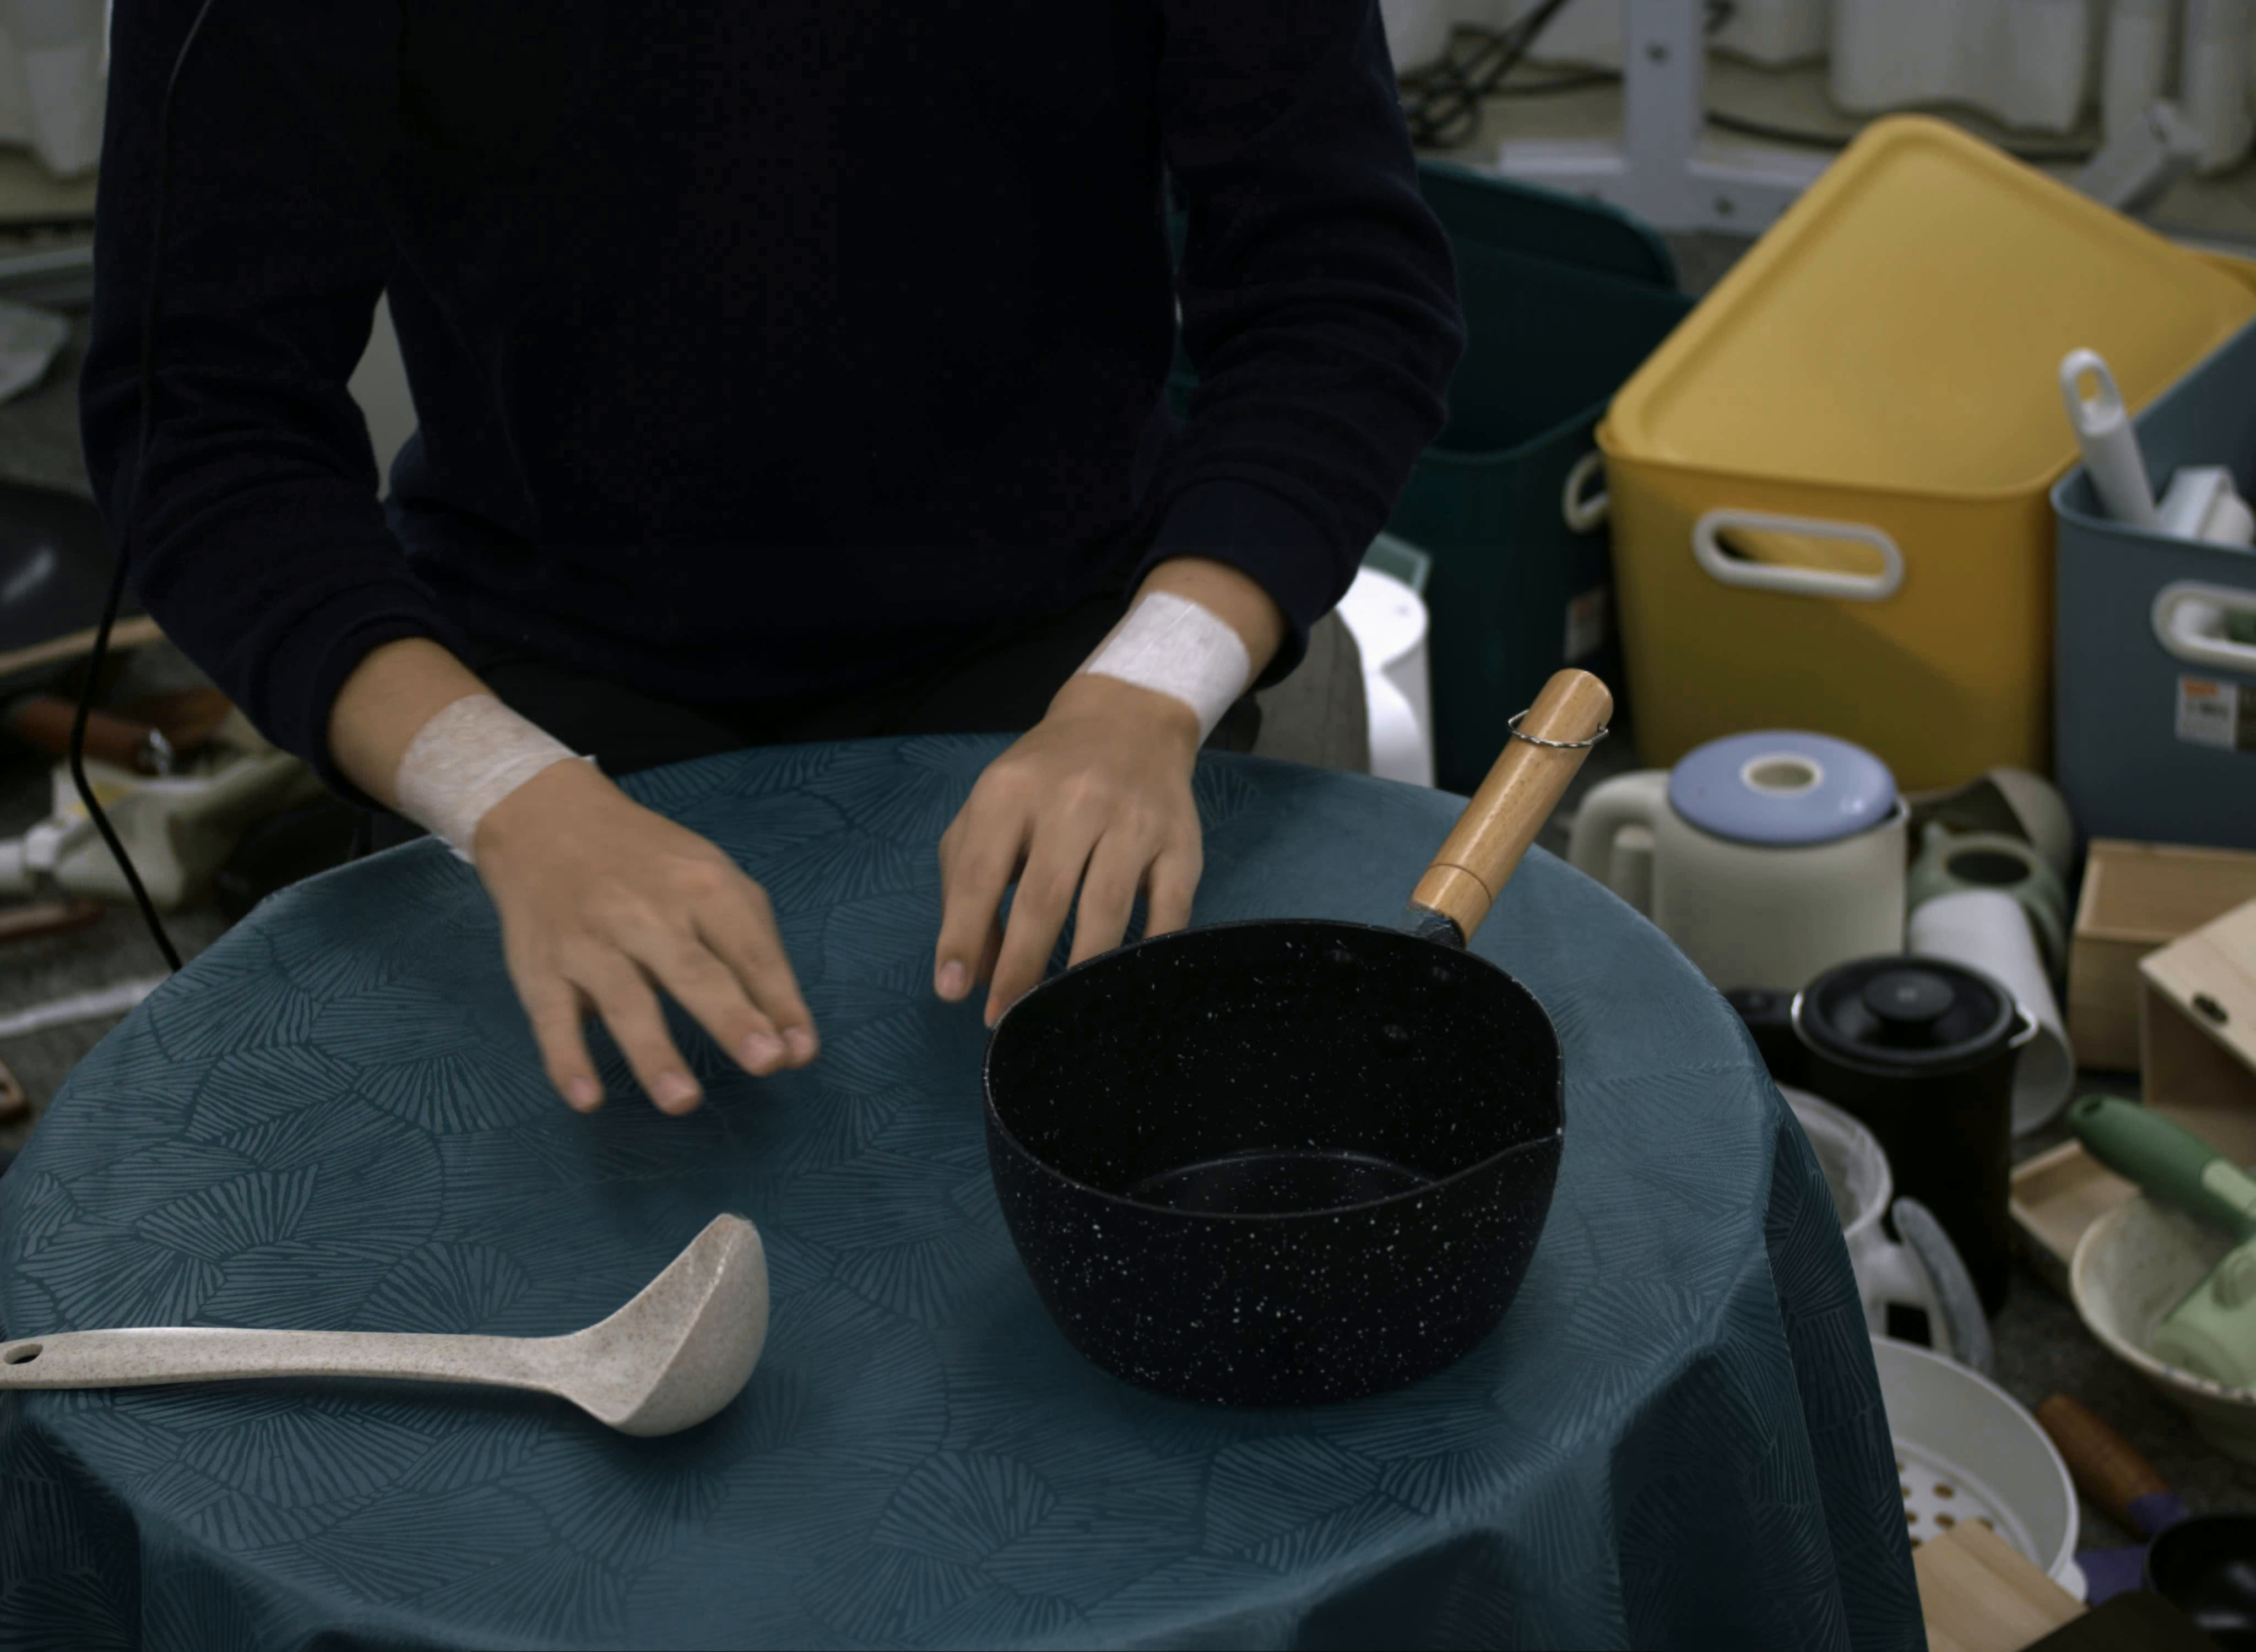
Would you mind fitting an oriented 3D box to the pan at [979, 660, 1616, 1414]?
[{"bbox_3d":[0.082,0.065,1.847,0.206,0.107,0.349,9,31,25],"label":"pan"}]

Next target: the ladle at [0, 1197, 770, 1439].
[{"bbox_3d":[-0.246,0.153,1.763,0.273,0.068,0.091,0,36,11],"label":"ladle"}]
